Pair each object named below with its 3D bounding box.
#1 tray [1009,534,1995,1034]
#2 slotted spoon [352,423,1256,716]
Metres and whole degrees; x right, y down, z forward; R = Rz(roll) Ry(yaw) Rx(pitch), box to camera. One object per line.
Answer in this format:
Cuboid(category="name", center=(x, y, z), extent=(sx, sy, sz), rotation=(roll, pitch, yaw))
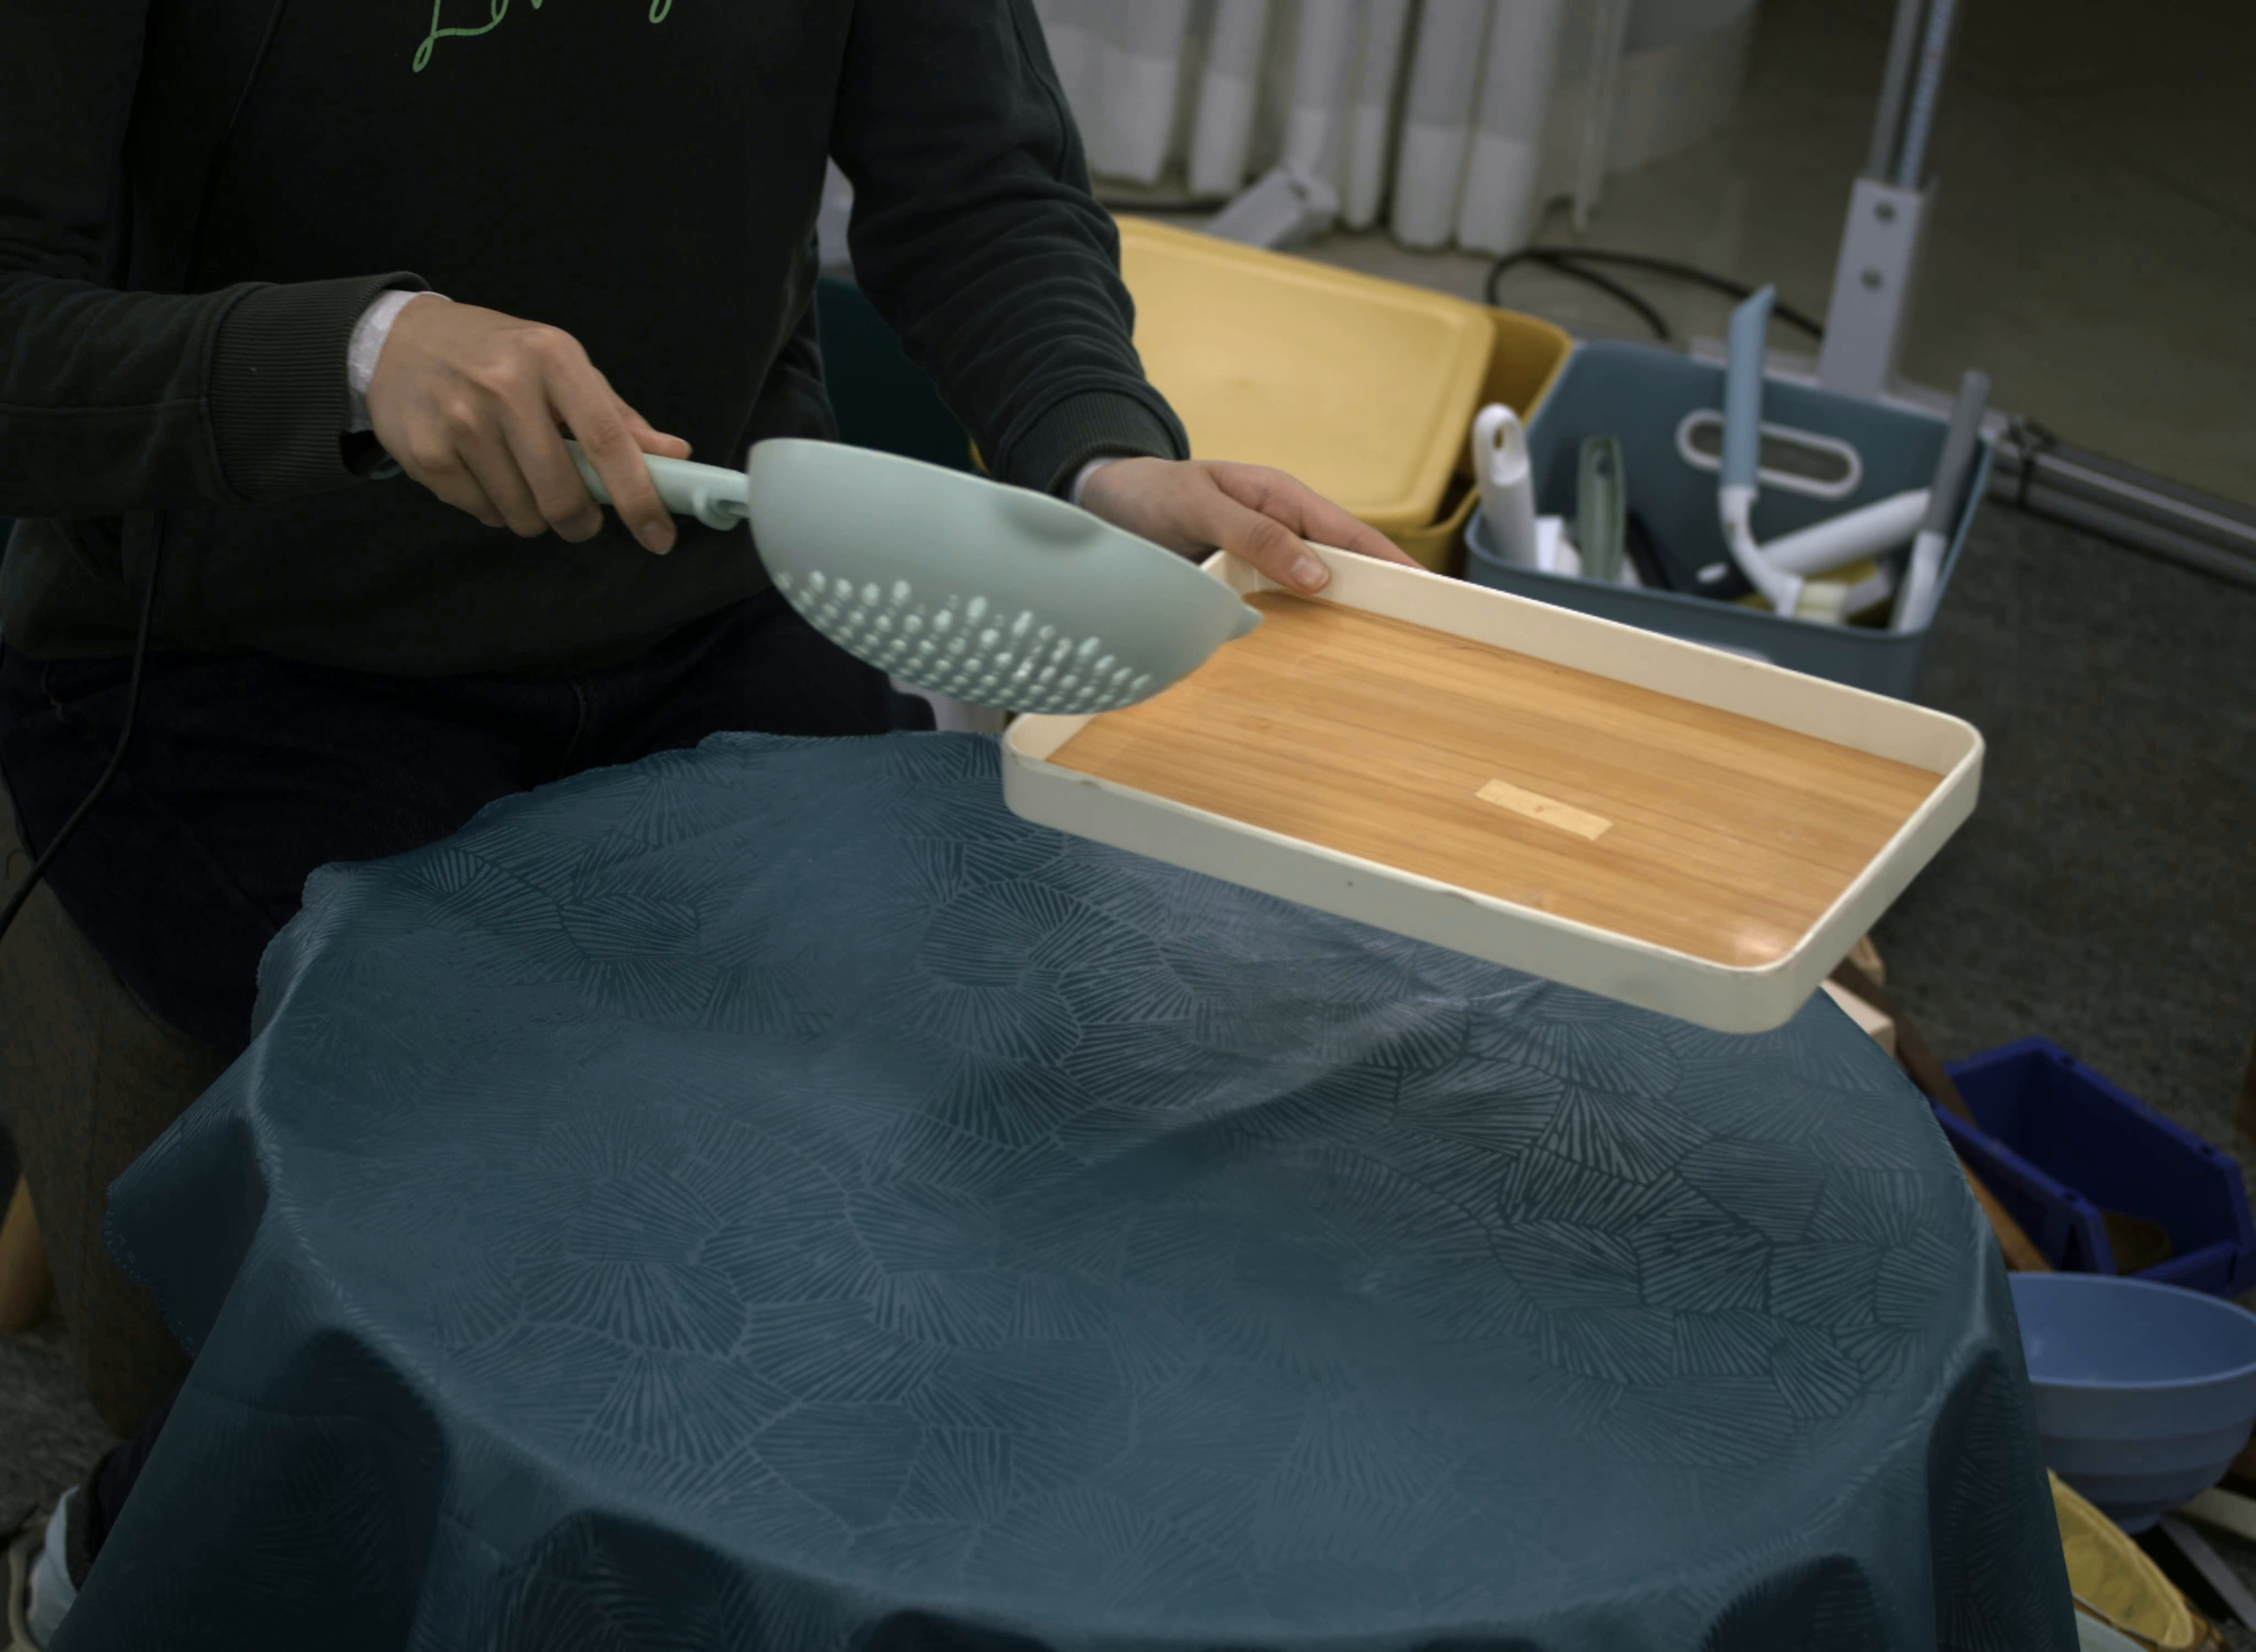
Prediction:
Cuboid(category="tray", center=(0.128, -0.019, 1.836), extent=(0.302, 0.027, 0.191), rotation=(17, 35, 27))
Cuboid(category="slotted spoon", center=(-0.127, -0.103, 1.801), extent=(0.361, 0.075, 0.168), rotation=(22, -4, 36))
